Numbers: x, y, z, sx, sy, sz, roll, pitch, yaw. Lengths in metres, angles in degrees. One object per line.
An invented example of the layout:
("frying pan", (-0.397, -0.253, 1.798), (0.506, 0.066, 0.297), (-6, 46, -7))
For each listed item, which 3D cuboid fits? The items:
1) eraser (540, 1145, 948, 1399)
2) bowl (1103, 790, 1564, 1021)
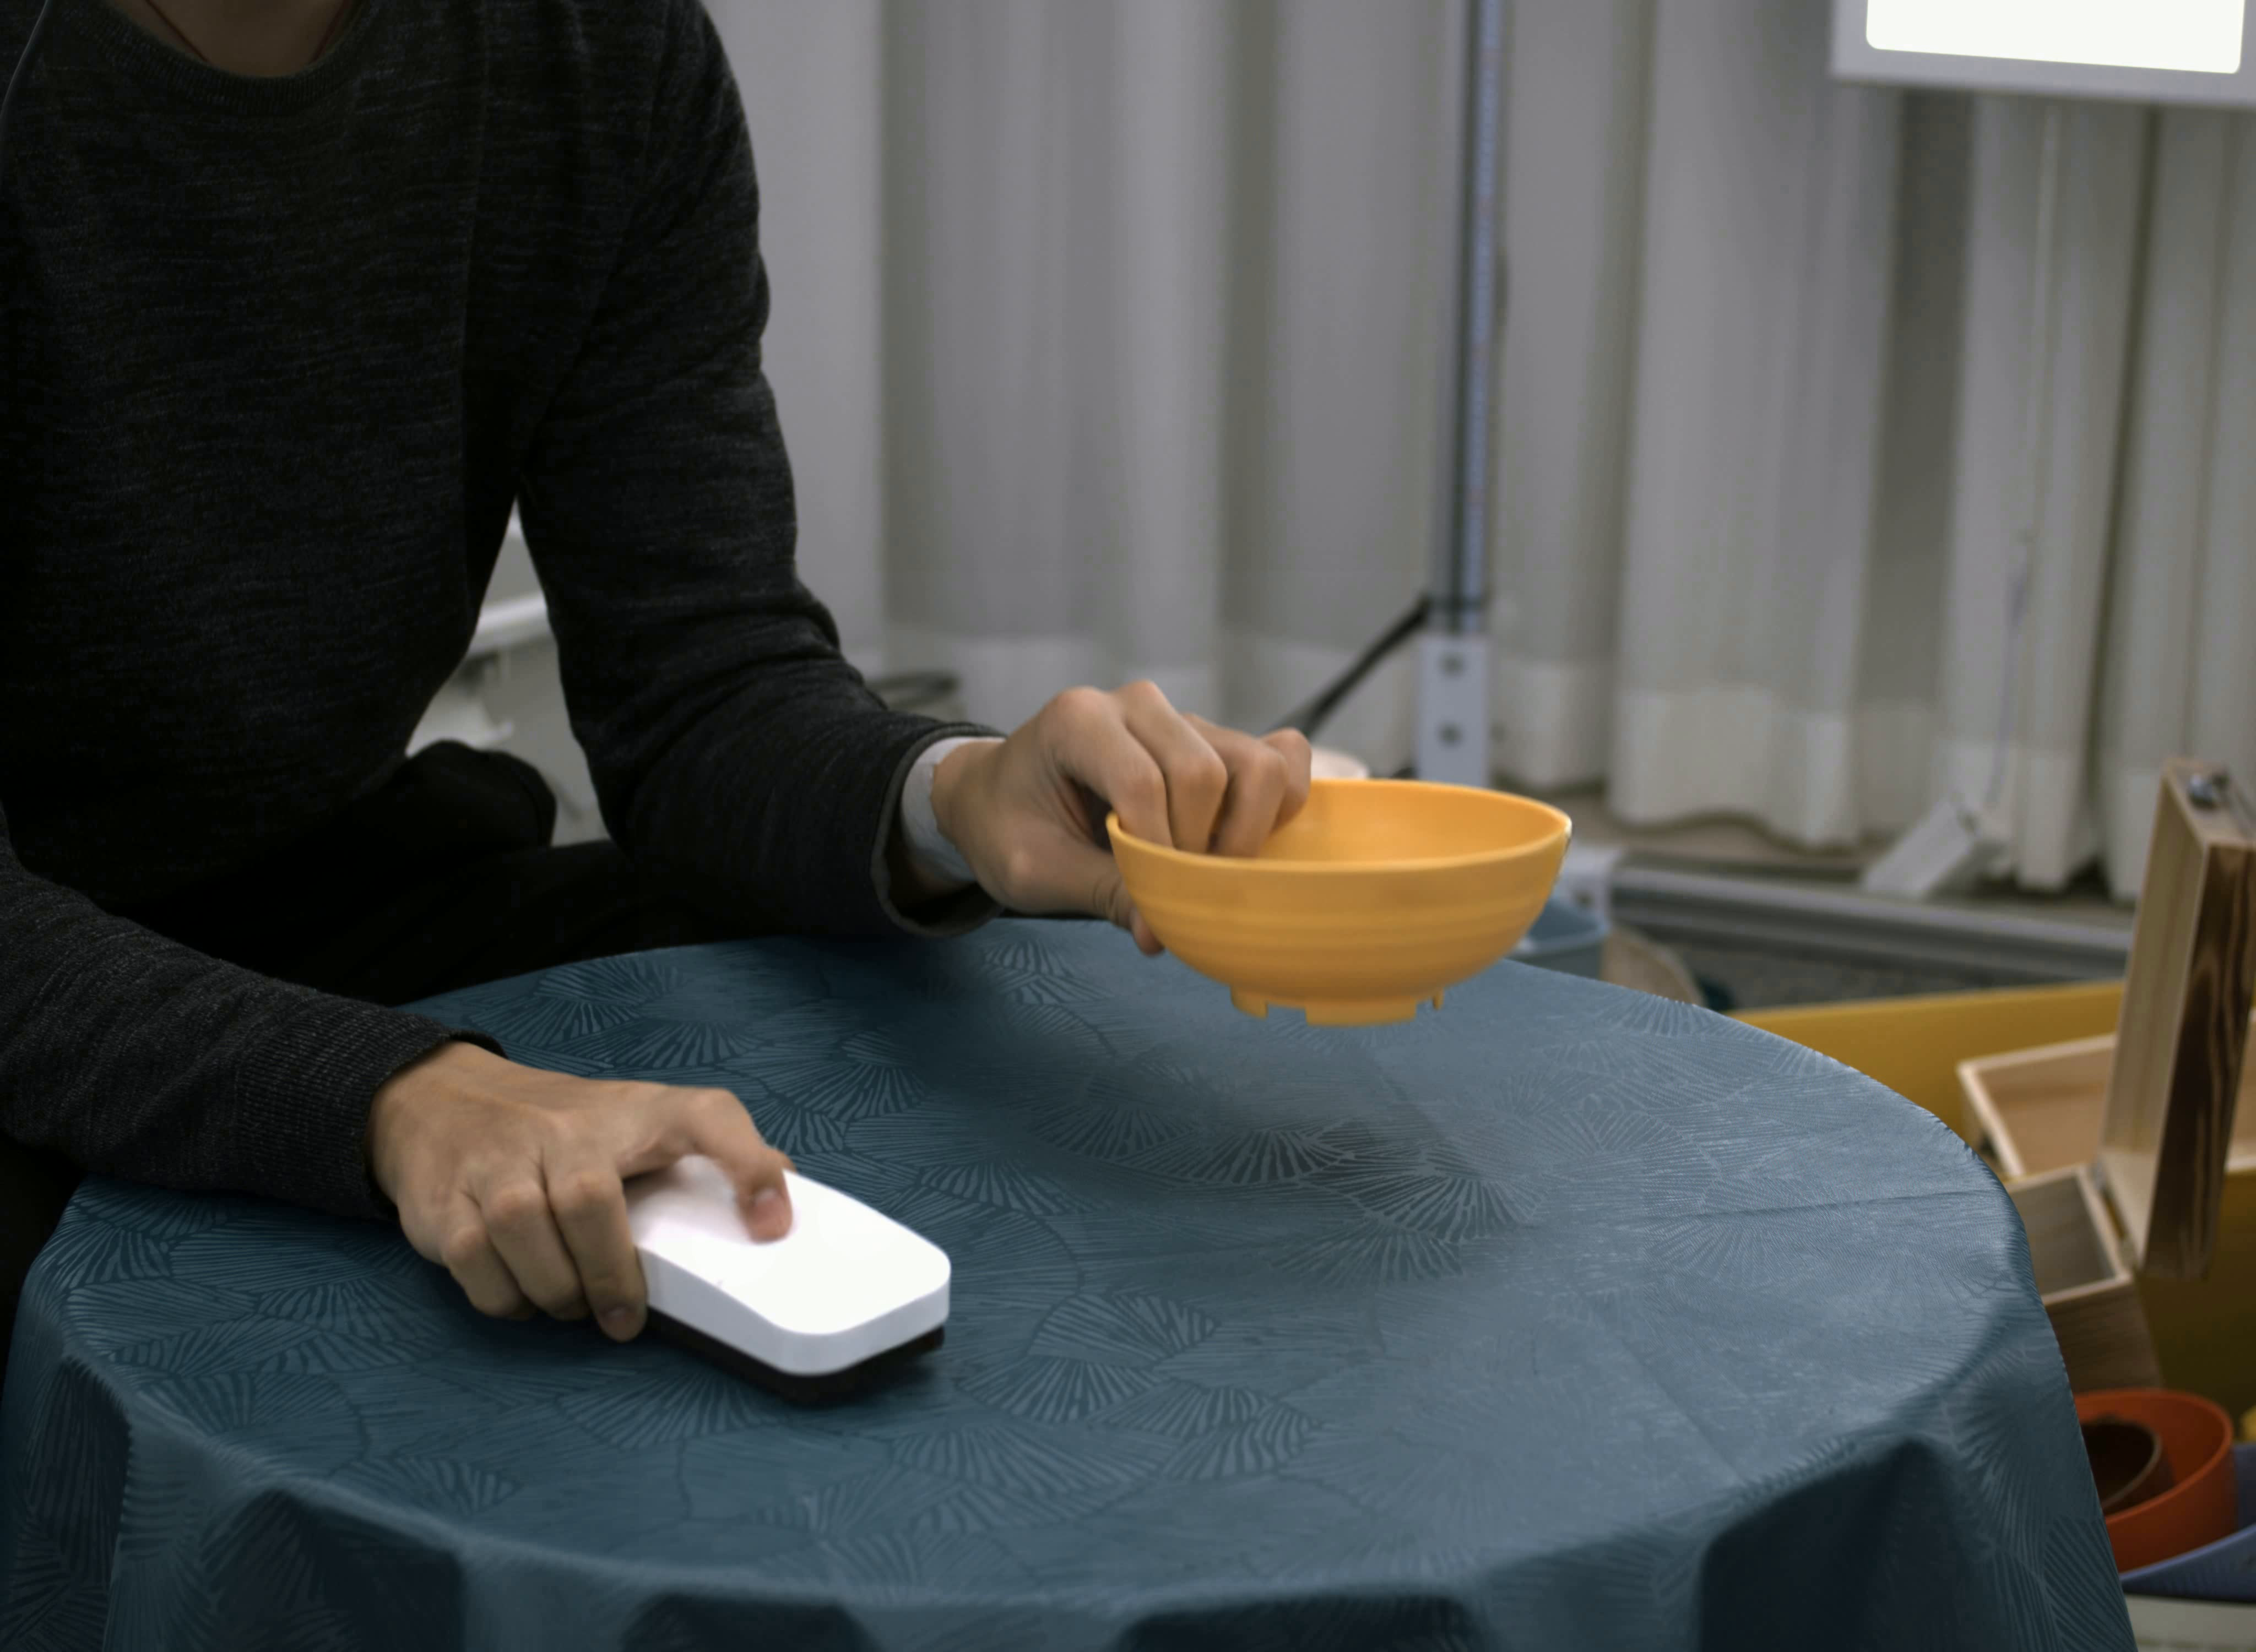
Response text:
("eraser", (-0.108, 0.122, 1.493), (0.063, 0.035, 0.129), (-20, 27, -37))
("bowl", (0.063, 0.026, 1.632), (0.145, 0.060, 0.145), (0, 8, 0))
